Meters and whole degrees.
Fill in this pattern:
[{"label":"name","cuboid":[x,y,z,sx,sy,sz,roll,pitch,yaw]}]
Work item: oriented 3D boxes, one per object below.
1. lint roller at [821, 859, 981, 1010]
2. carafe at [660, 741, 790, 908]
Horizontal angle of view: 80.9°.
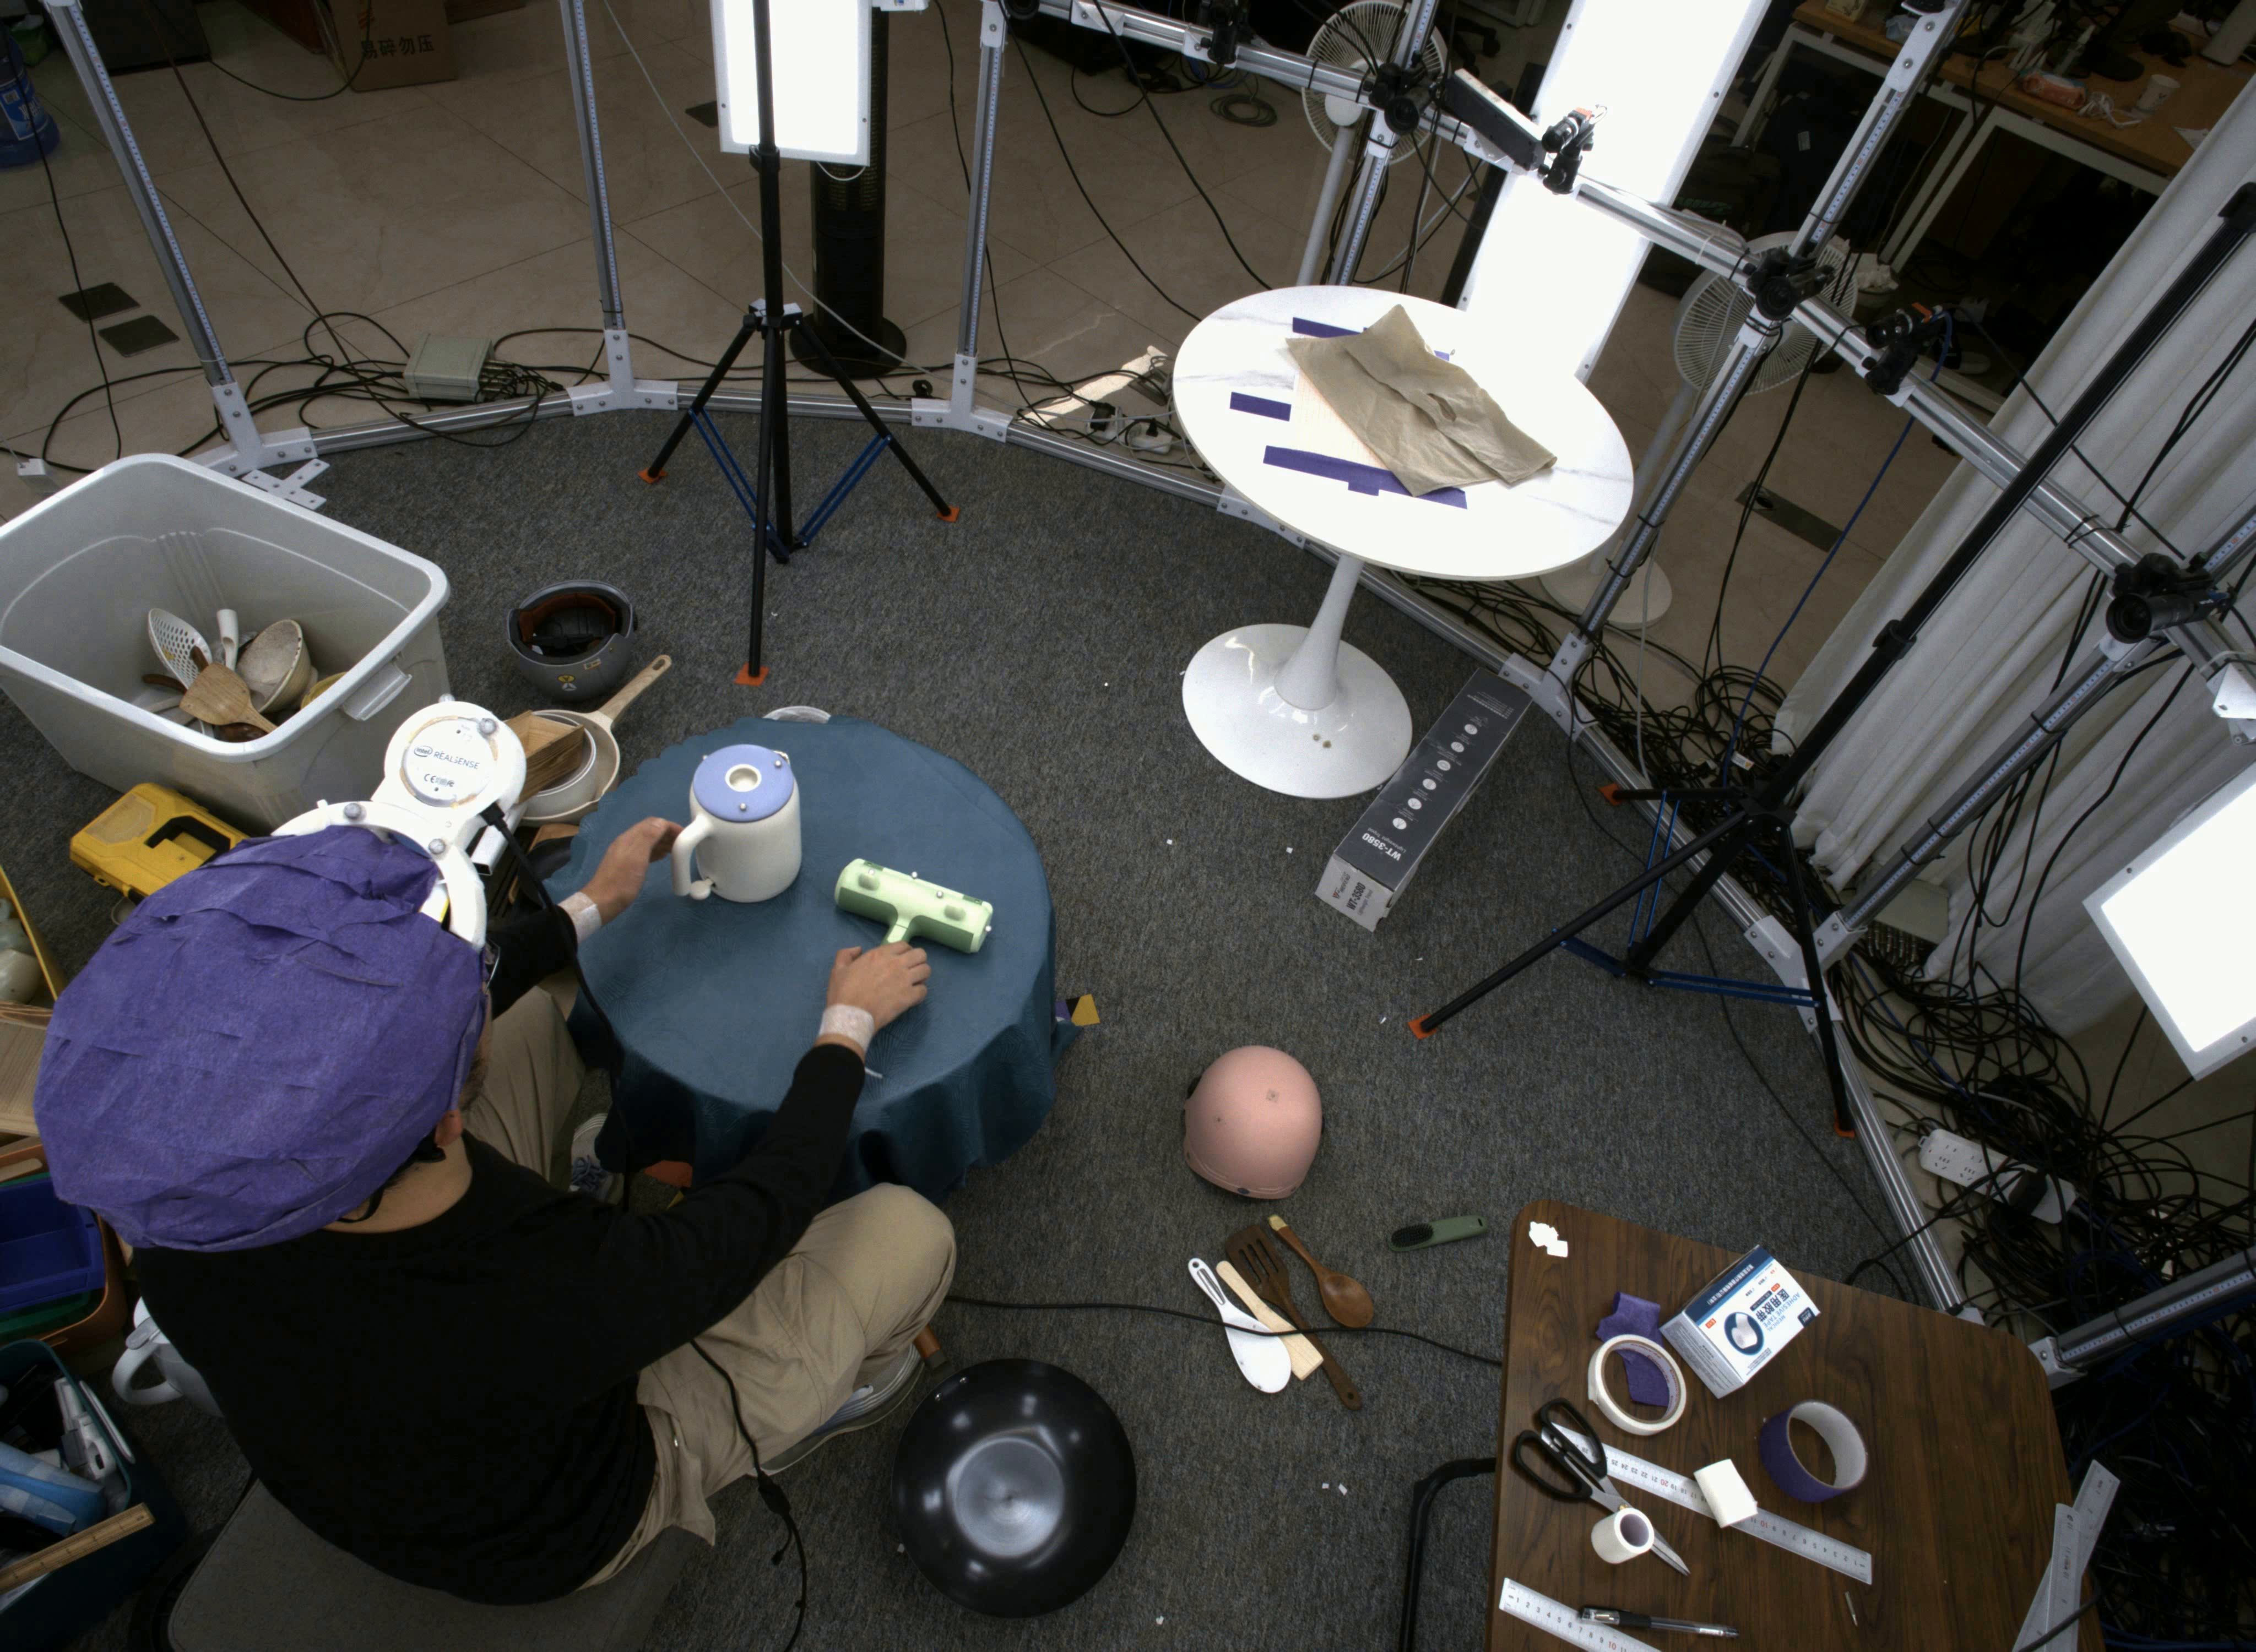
[{"label":"lint roller","cuboid":[-0.301,0.133,1.602,0.196,0.084,0.181,18,48,1]},{"label":"carafe","cuboid":[-0.501,0.012,1.578,0.129,0.186,0.191,31,55,13]}]
